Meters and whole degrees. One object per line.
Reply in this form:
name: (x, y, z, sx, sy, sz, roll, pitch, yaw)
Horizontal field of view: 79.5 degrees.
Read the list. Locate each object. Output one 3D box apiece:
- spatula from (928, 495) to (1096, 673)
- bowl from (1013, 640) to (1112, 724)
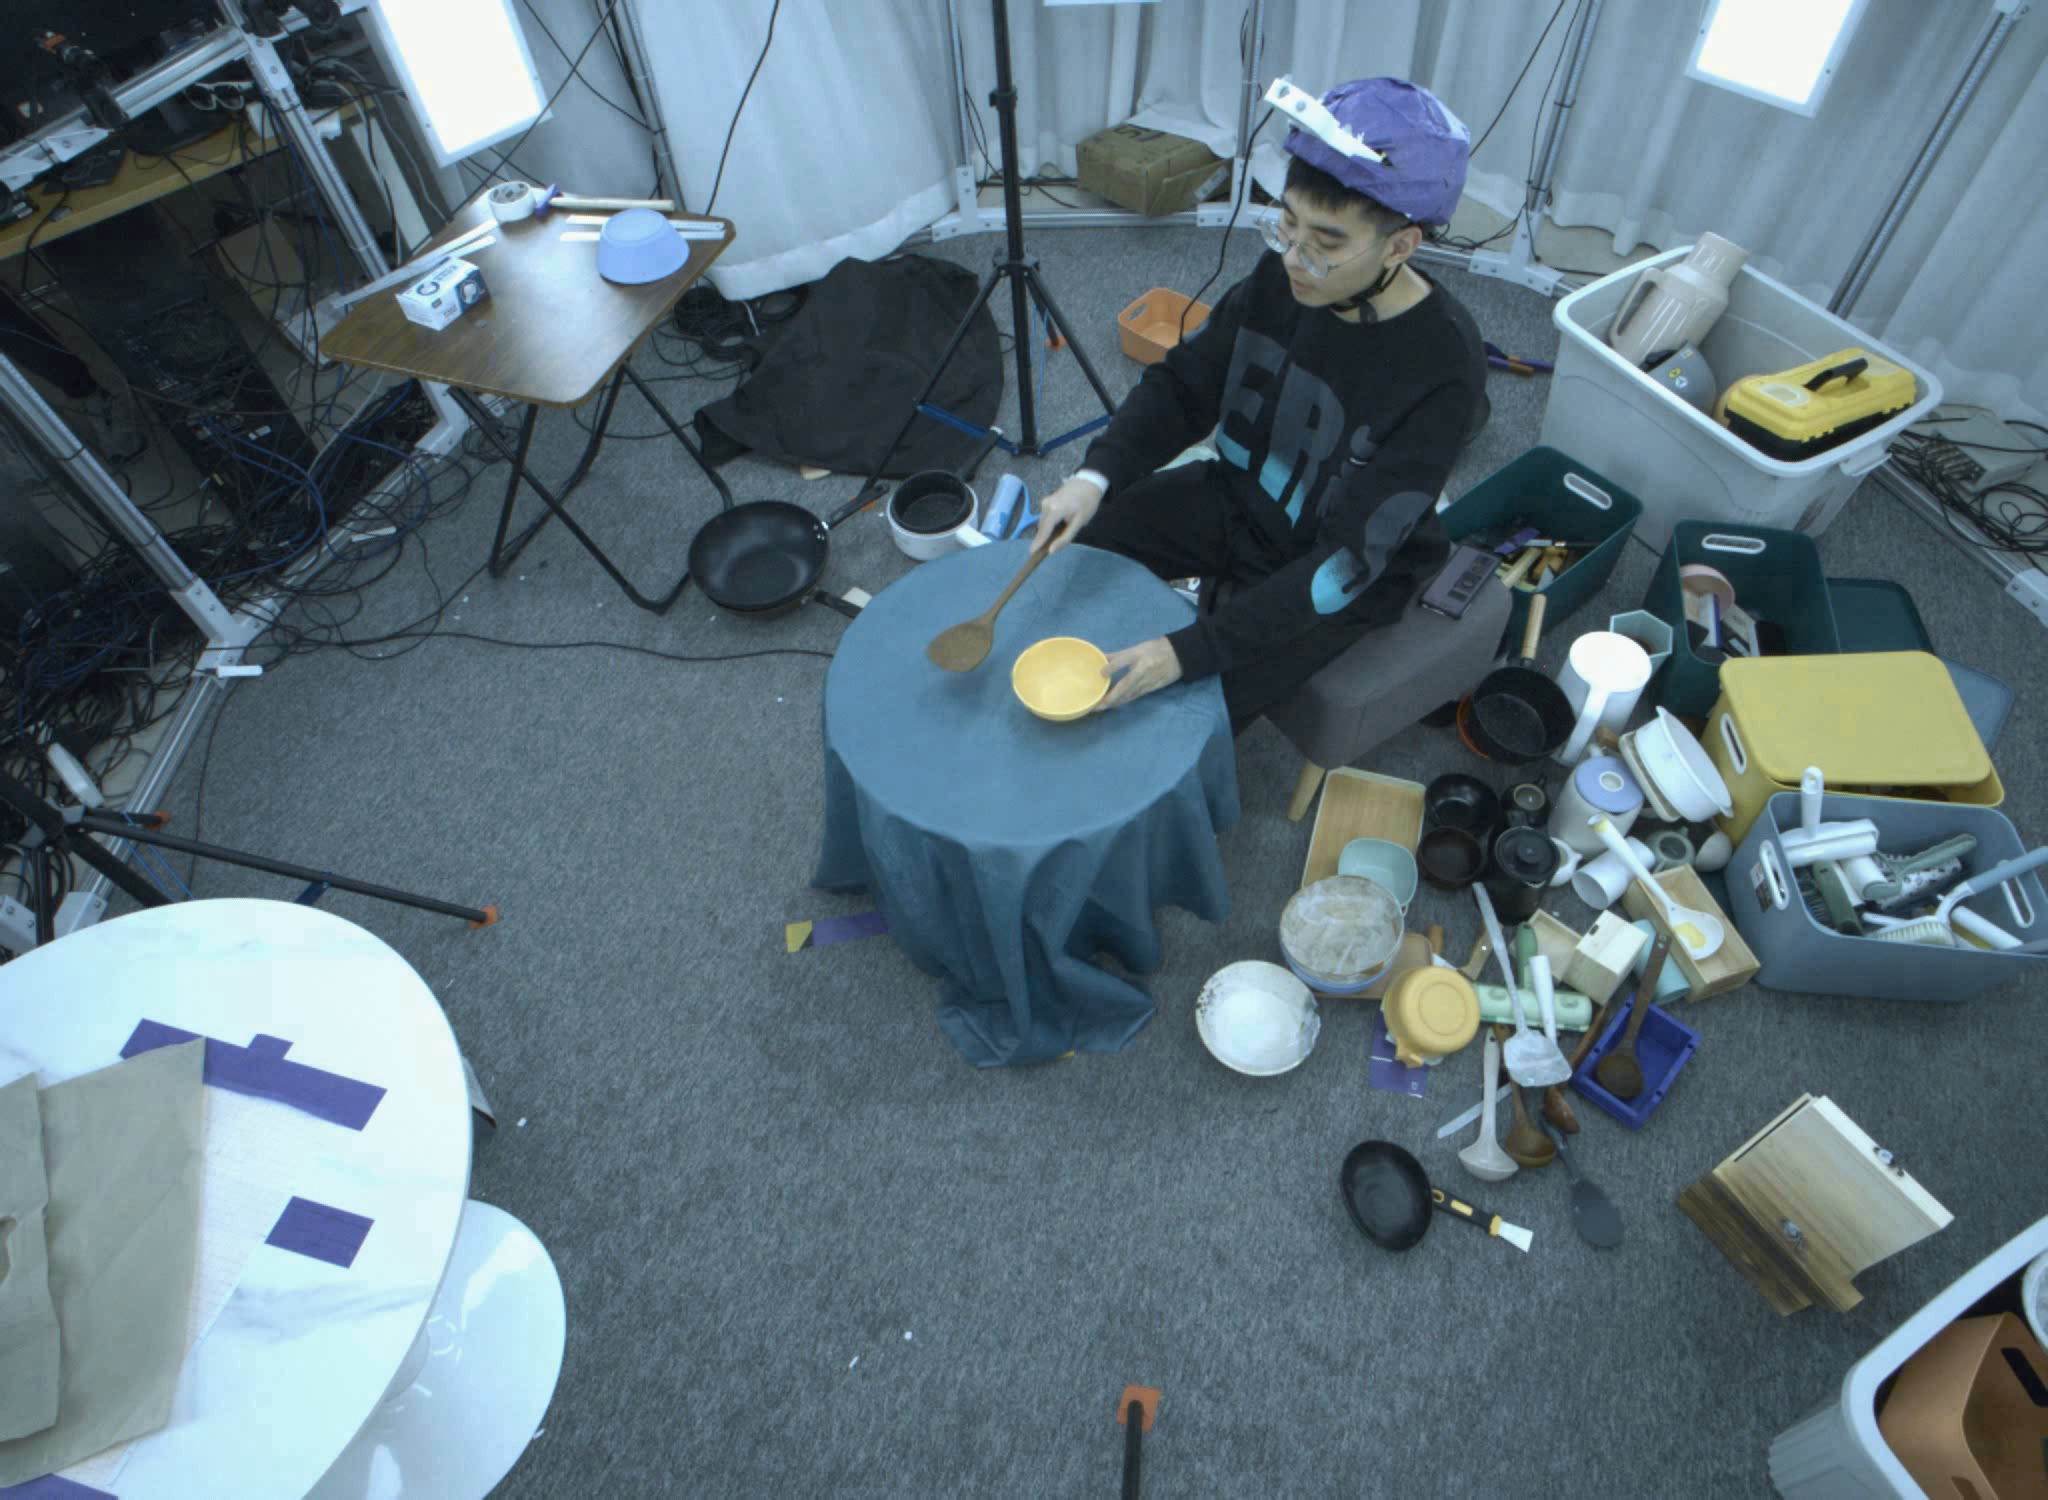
spatula: (-0.004, -0.261, 1.859, 0.094, 0.016, 0.387, 25, 66, 30)
bowl: (0.057, -0.089, 1.824, 0.145, 0.060, 0.144, 0, 57, 1)
